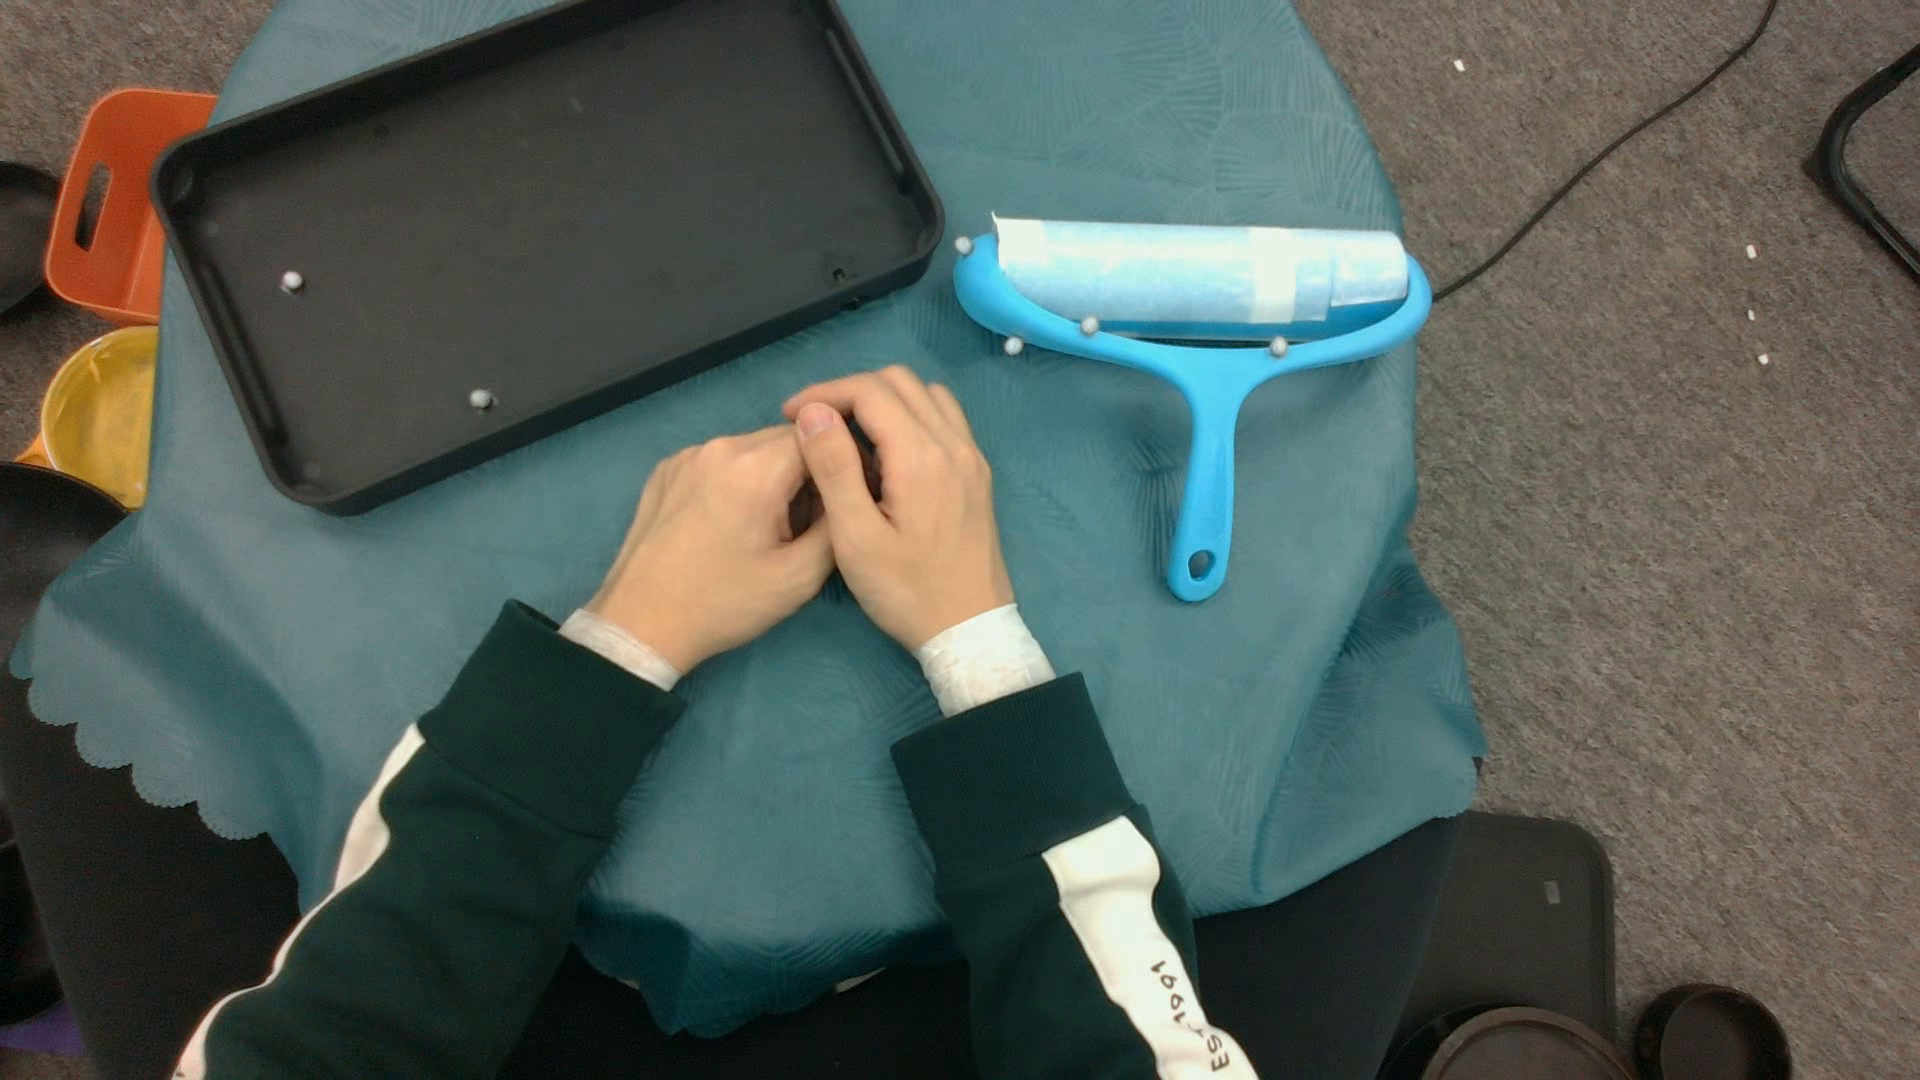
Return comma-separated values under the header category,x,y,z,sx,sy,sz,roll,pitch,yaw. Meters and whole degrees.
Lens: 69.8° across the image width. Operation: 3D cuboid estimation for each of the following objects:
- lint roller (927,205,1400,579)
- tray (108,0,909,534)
category,x,y,z,sx,sy,sz,roll,pitch,yaw
lint roller,0.104,-0.076,0.647,0.229,0.068,0.180,-3,76,-10
tray,-0.199,-0.146,0.637,0.318,0.037,0.184,-28,82,-14
